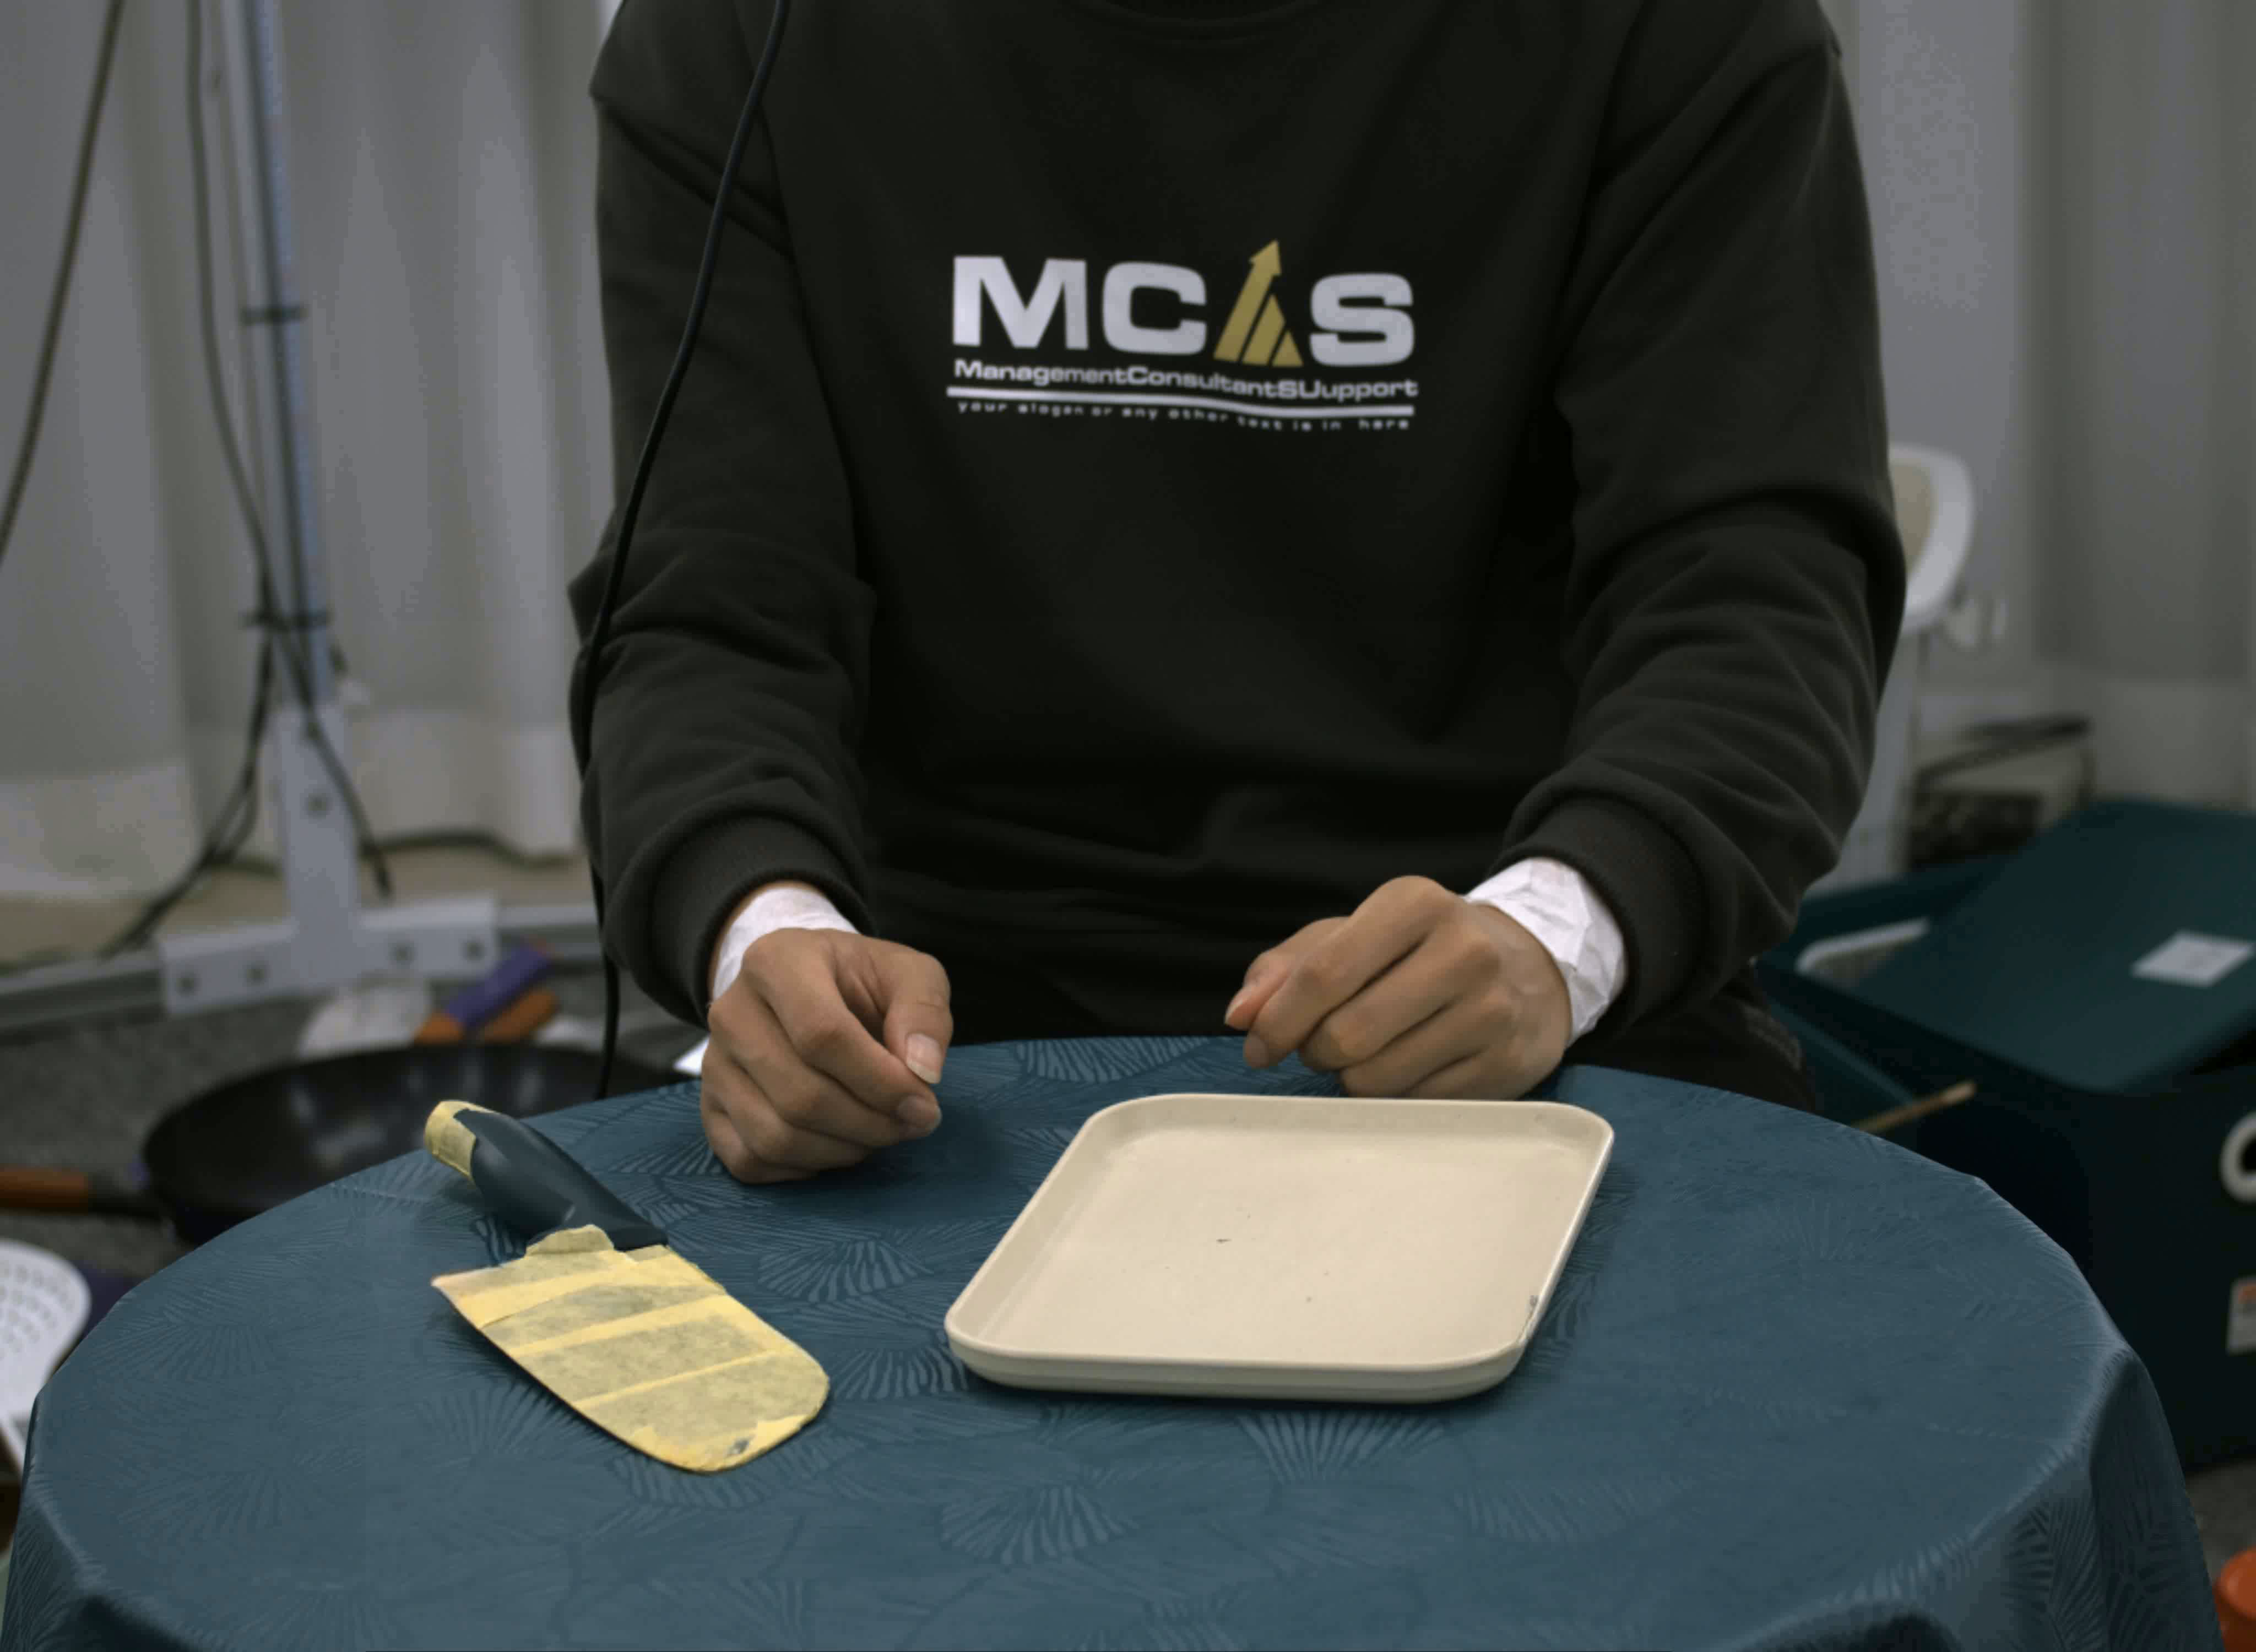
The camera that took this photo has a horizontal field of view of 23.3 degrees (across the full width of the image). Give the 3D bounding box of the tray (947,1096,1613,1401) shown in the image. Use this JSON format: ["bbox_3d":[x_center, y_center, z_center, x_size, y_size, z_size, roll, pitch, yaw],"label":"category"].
[{"bbox_3d":[0.050,0.125,1.634,0.171,0.017,0.241,0,15,13],"label":"tray"}]

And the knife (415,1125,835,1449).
[{"bbox_3d":[-0.165,0.138,1.631,0.080,0.027,0.292,-8,16,-25],"label":"knife"}]
